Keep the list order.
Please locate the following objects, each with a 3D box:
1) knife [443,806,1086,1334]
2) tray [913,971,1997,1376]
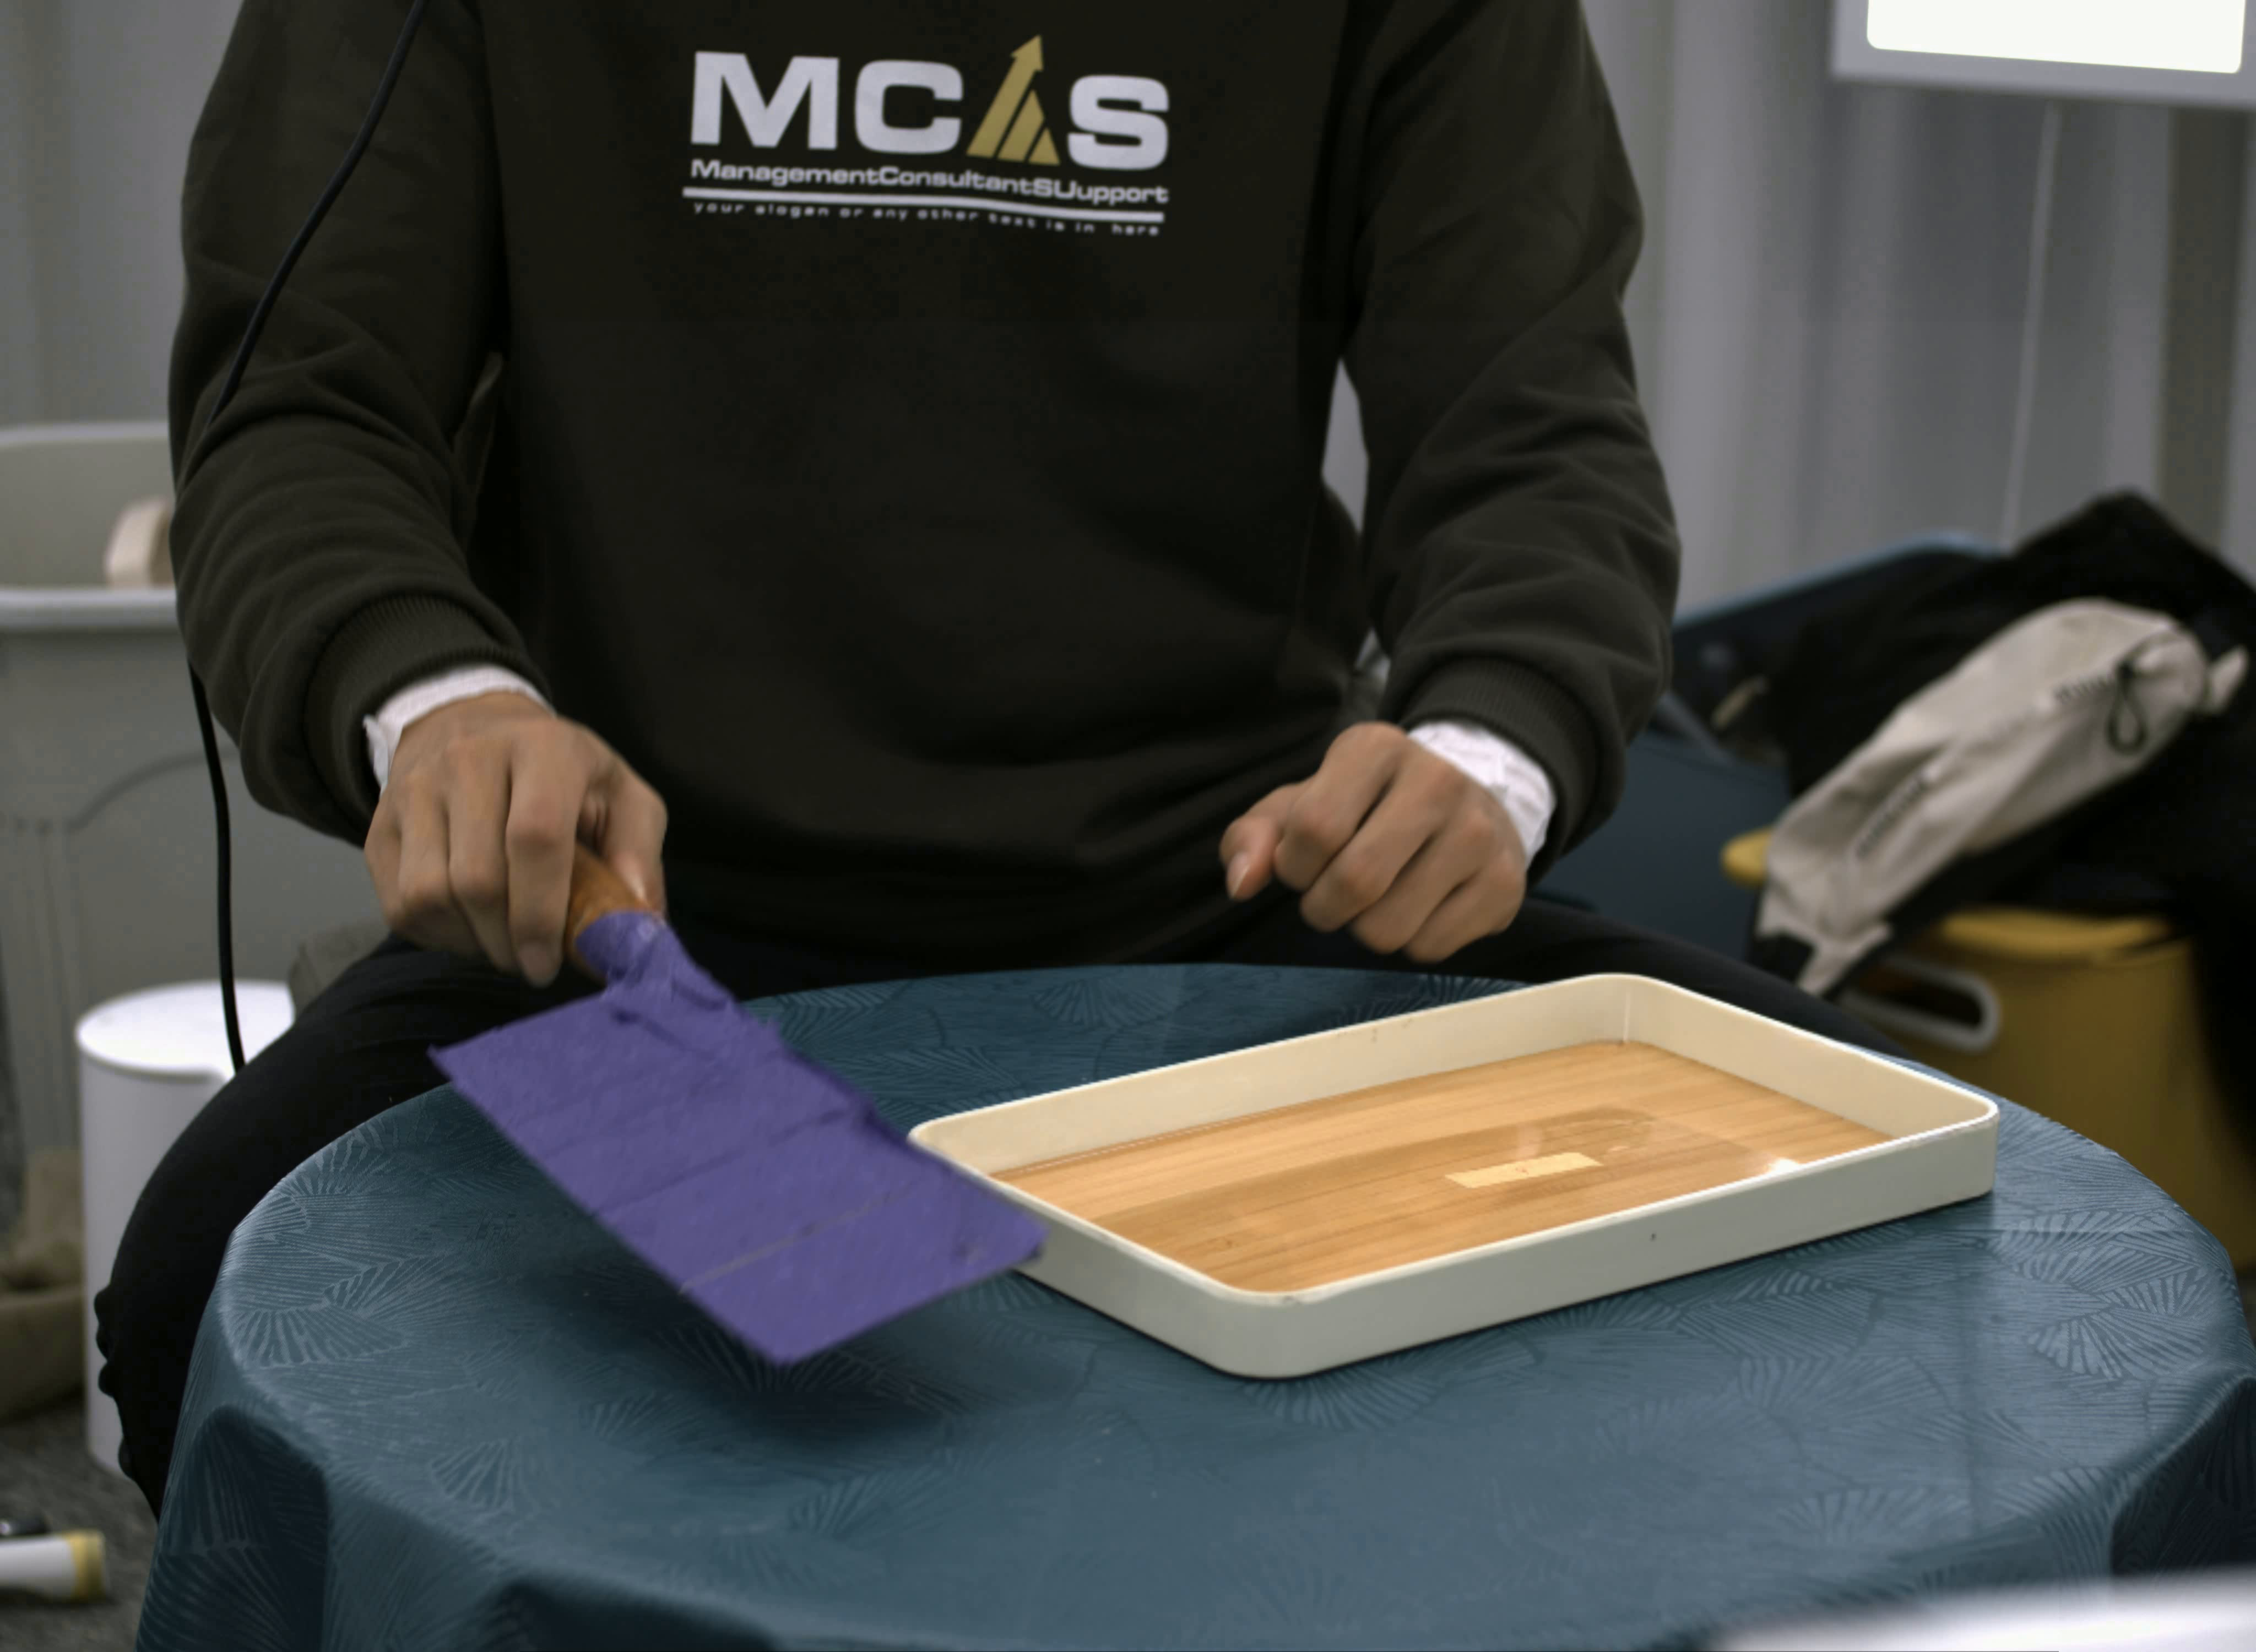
[{"bbox_3d":[-0.140,0.066,1.534,0.104,0.032,0.311,-20,30,-30],"label":"knife"},{"bbox_3d":[0.100,0.102,1.616,0.302,0.027,0.189,-11,19,-35],"label":"tray"}]
